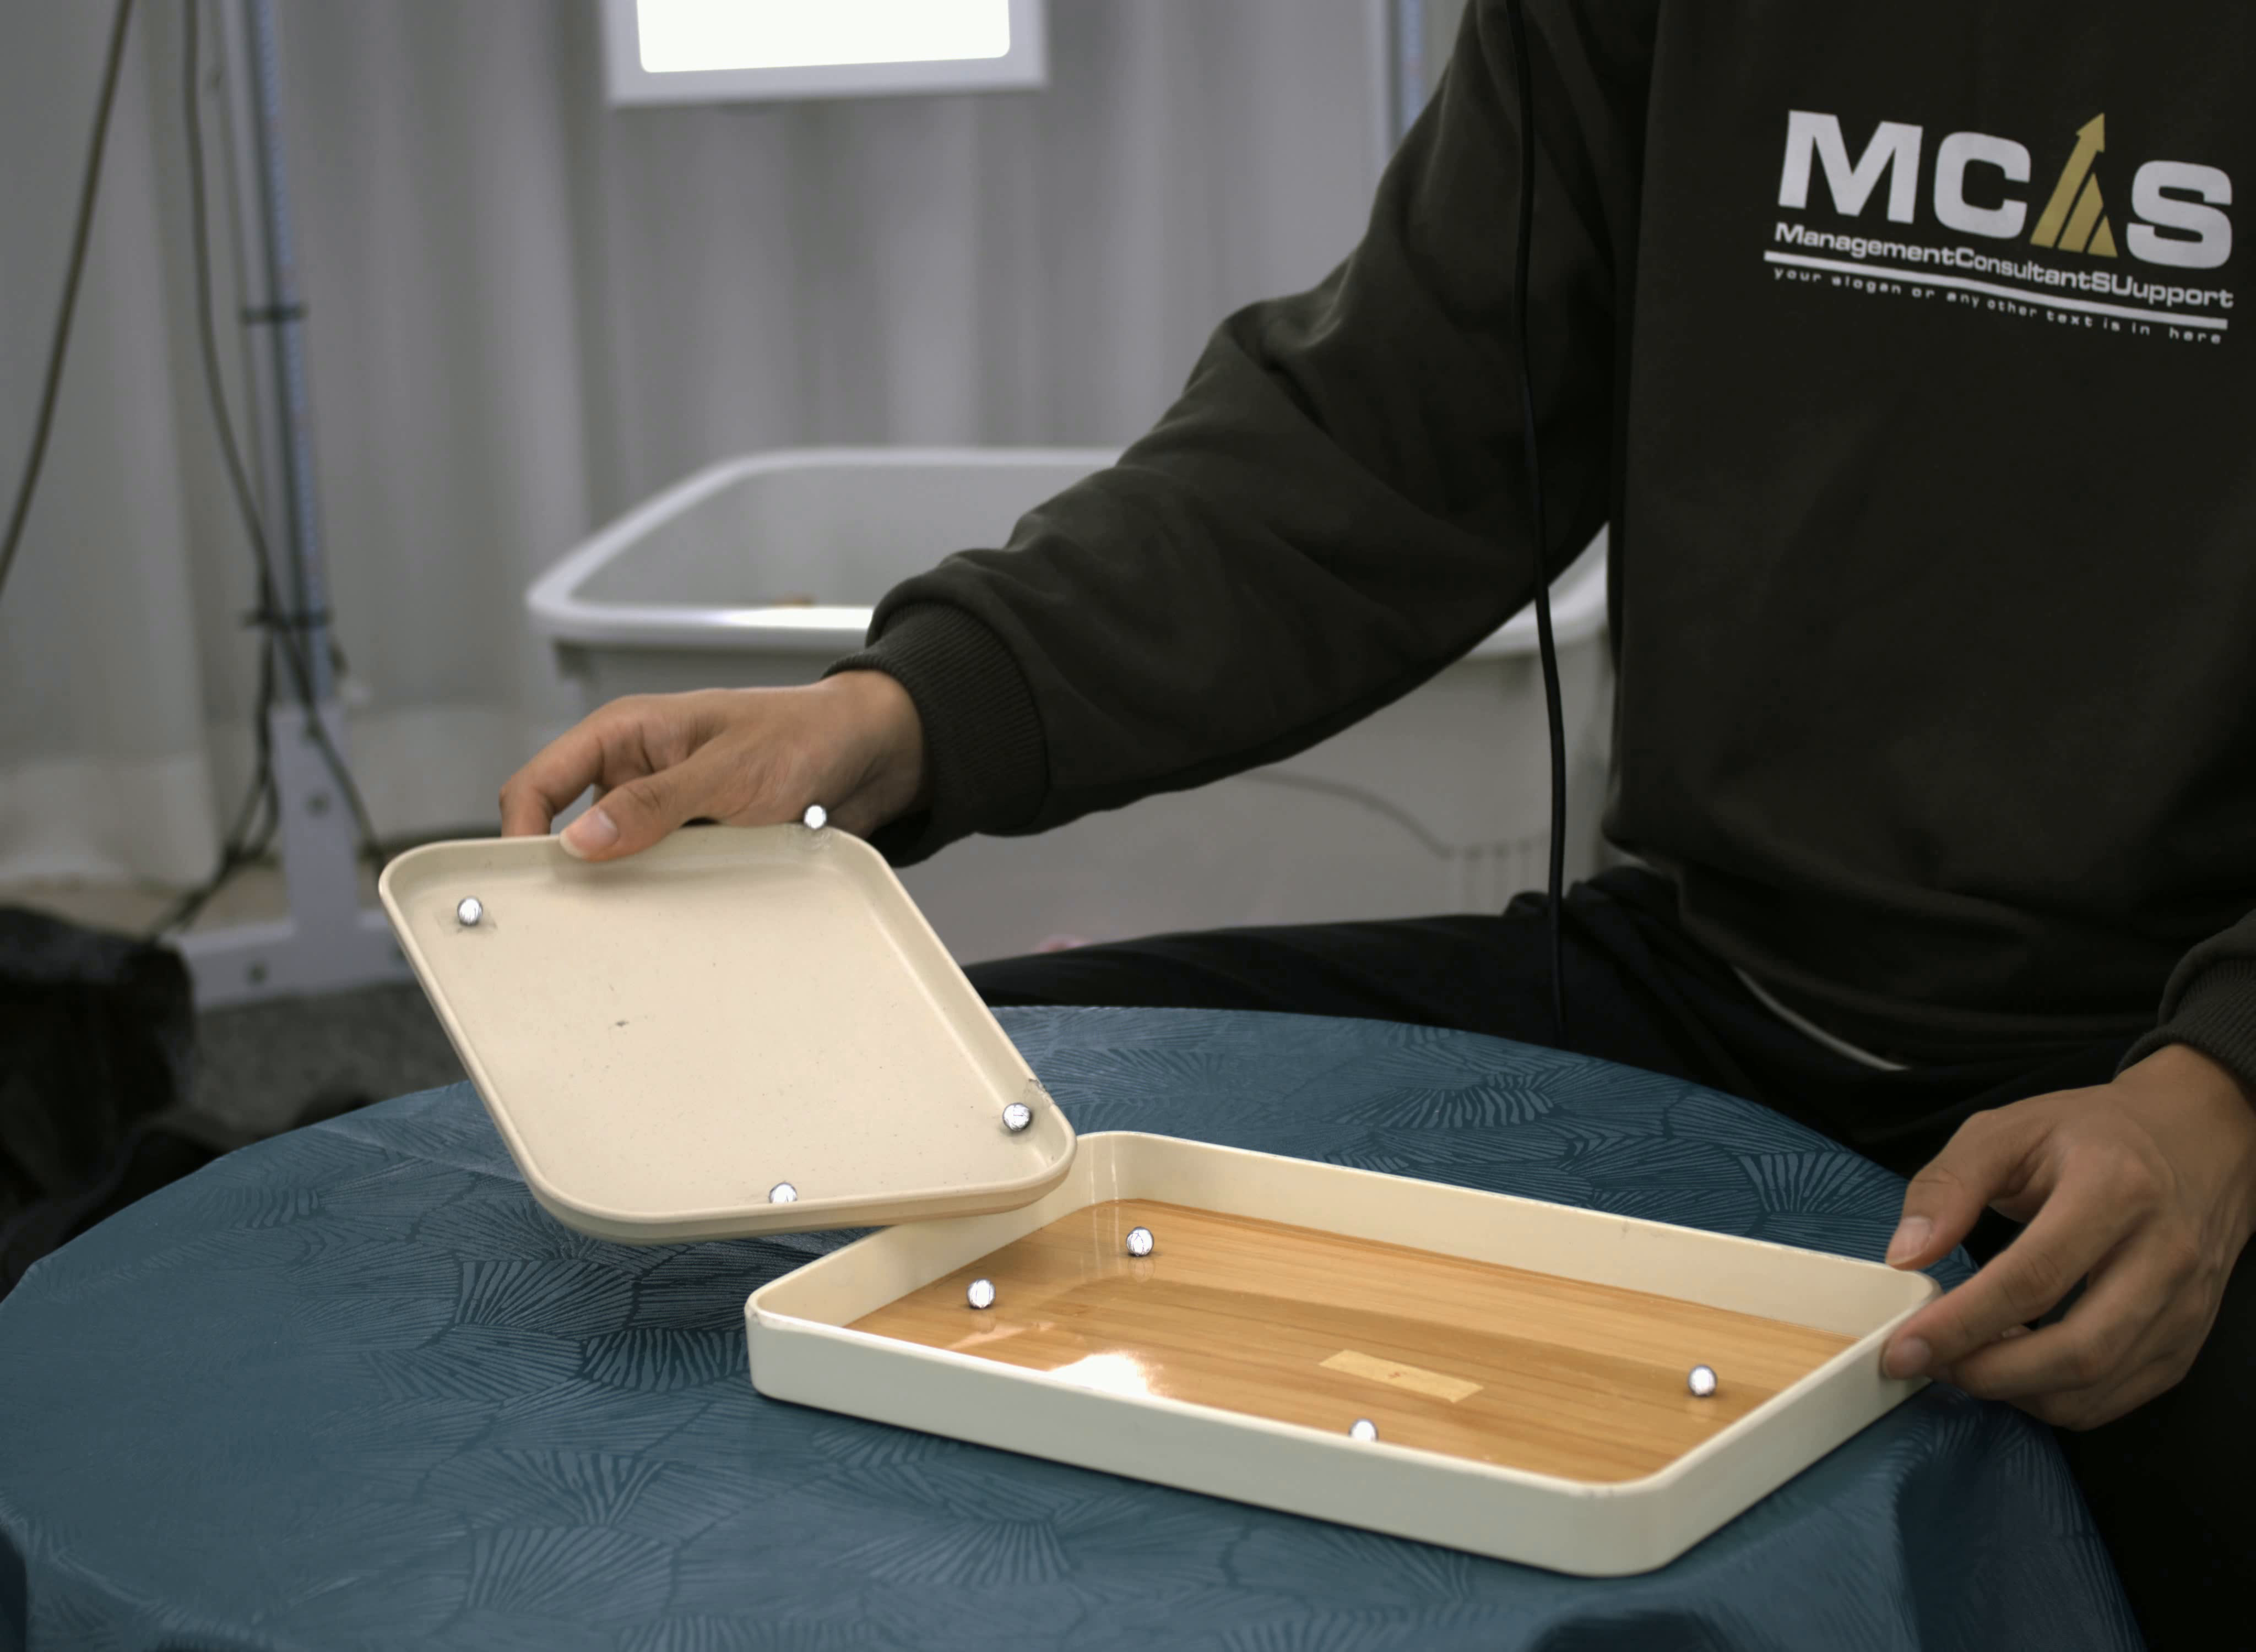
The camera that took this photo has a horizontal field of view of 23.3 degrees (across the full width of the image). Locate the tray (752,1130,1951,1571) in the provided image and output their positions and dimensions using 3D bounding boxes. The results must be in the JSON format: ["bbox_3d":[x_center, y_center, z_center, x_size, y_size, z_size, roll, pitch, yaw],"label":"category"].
[{"bbox_3d":[0.062,0.144,1.548,0.301,0.027,0.191,8,18,34],"label":"tray"}]

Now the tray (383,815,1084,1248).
[{"bbox_3d":[-0.126,0.062,1.696,0.170,0.017,0.243,-4,29,-22],"label":"tray"}]
